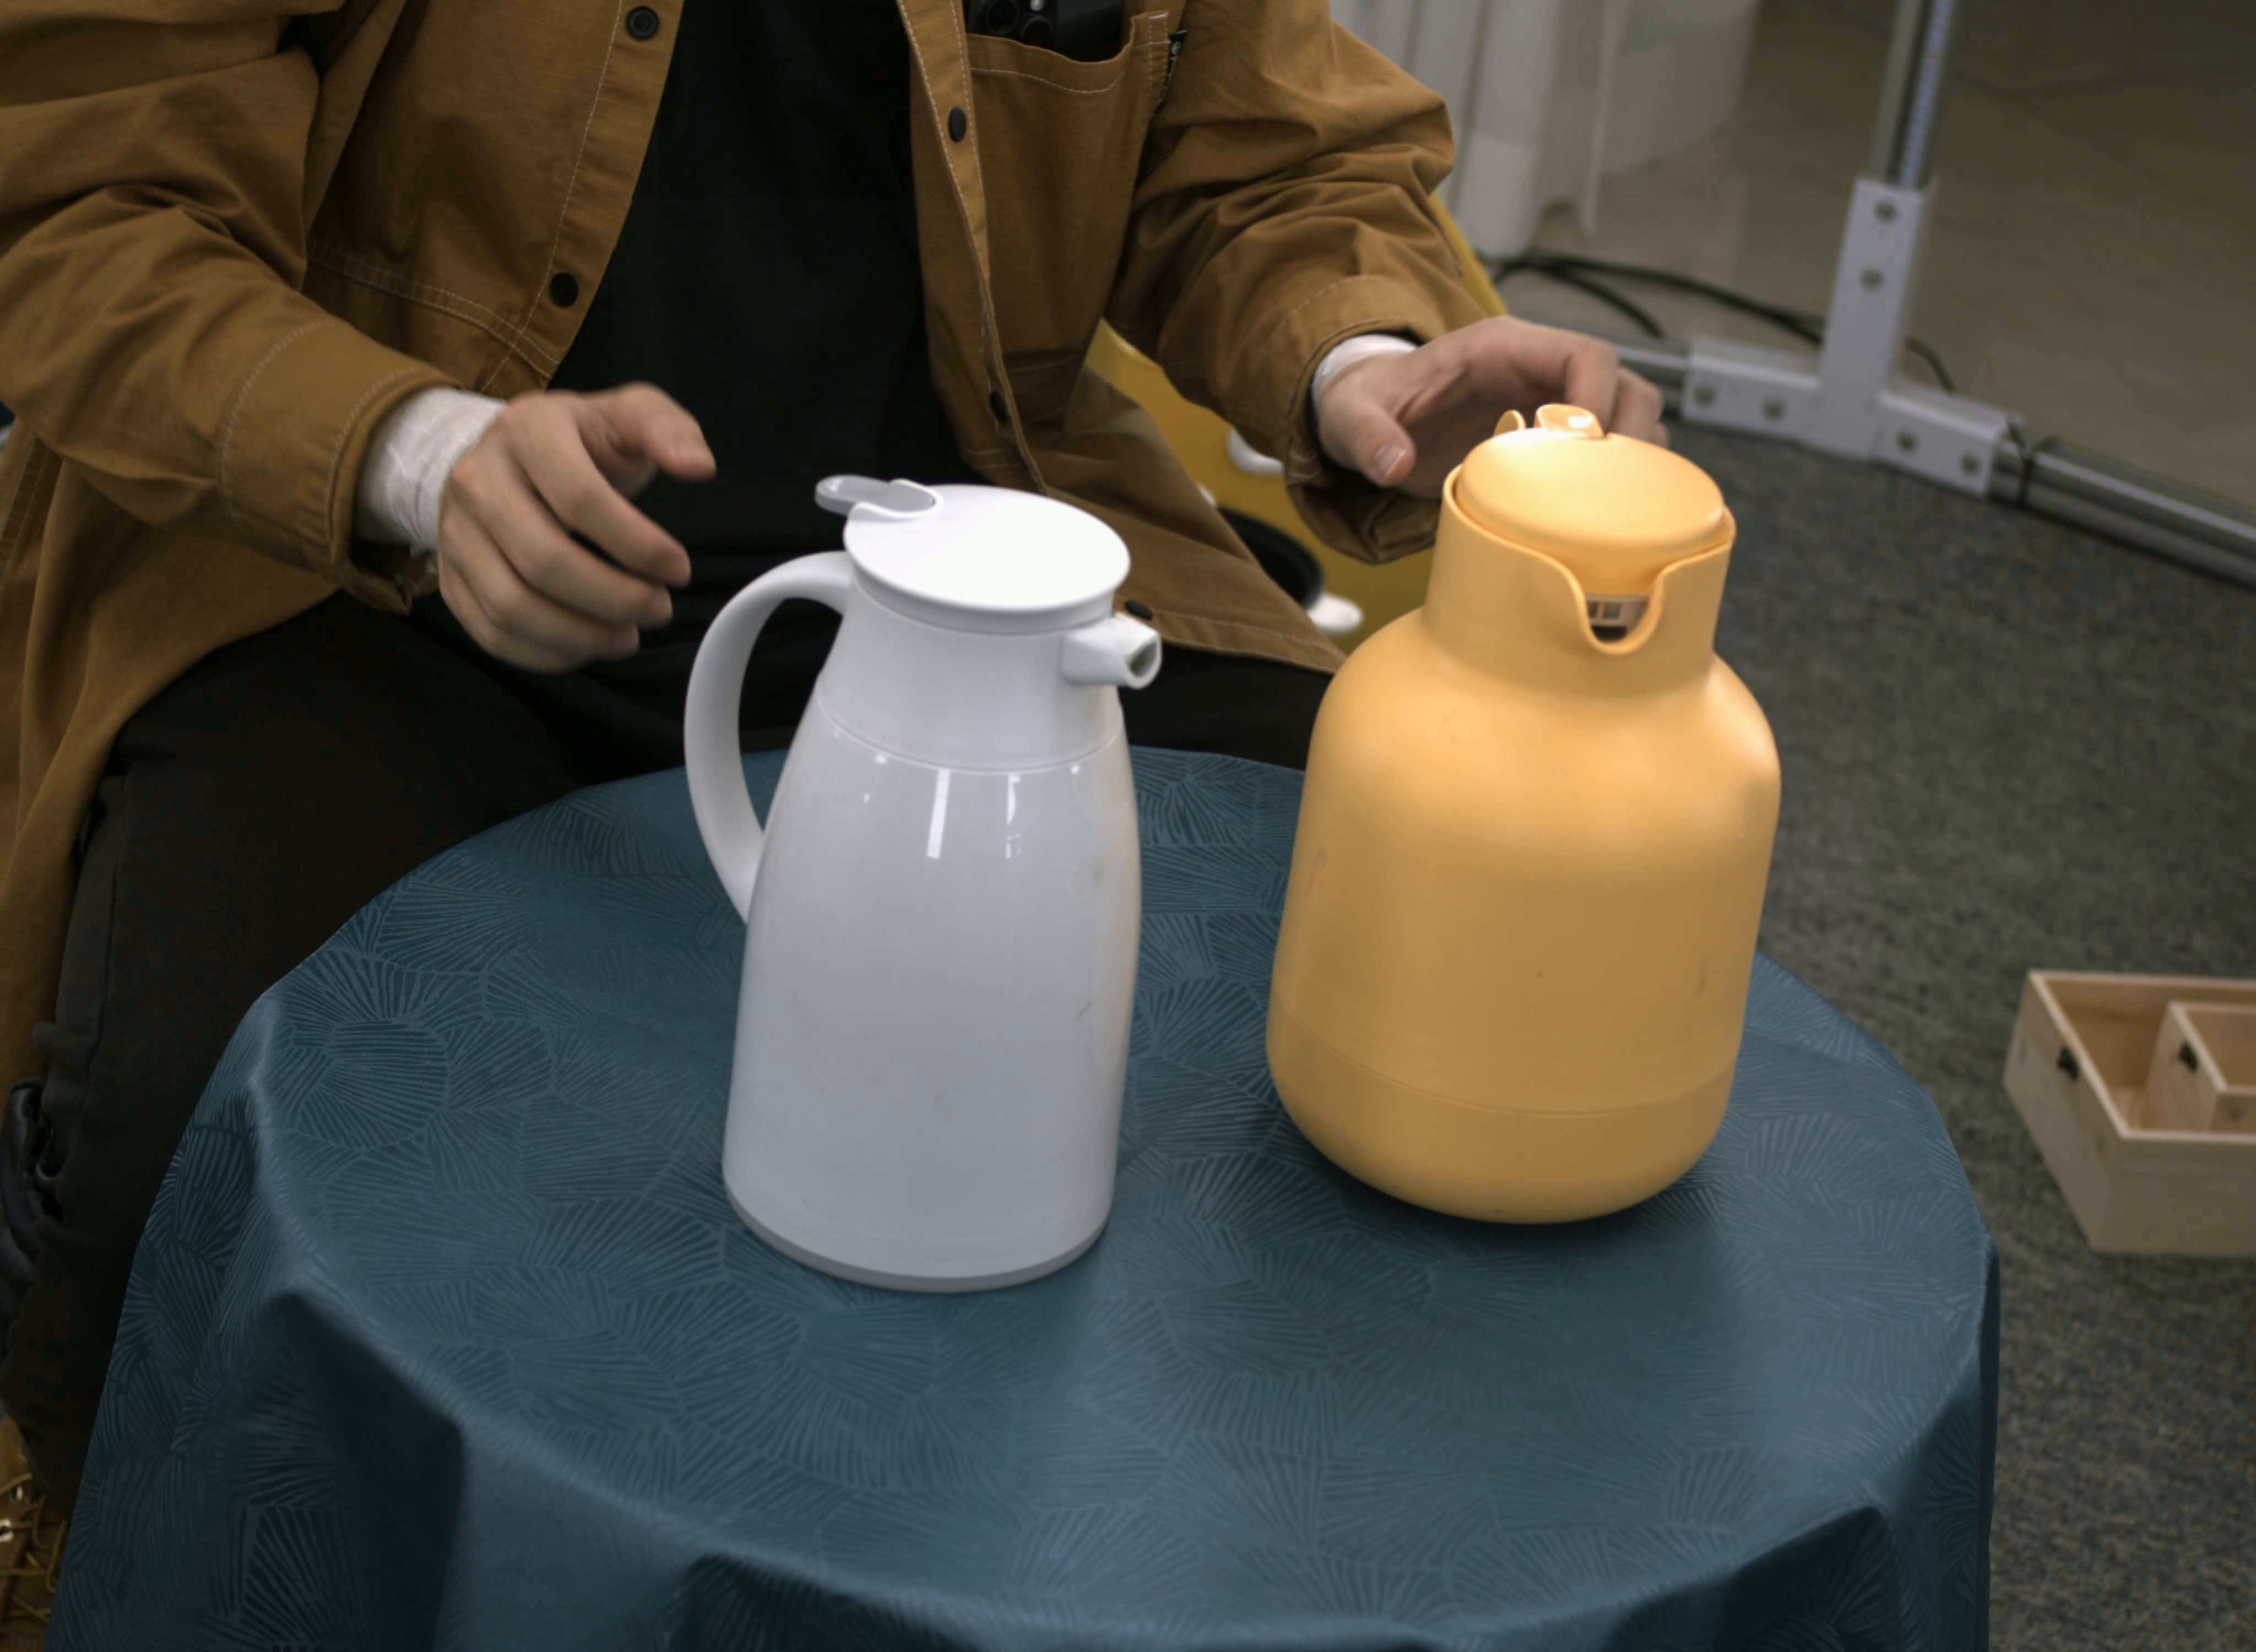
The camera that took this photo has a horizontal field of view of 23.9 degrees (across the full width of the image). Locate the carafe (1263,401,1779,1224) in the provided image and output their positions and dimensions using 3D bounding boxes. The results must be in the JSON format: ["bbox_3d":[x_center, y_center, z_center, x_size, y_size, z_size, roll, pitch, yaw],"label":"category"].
[{"bbox_3d":[0.139,-0.014,1.822,0.163,0.259,0.204,6,28,-5],"label":"carafe"}]

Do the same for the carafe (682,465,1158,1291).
[{"bbox_3d":[-0.075,0.007,1.744,0.168,0.248,0.132,20,29,25],"label":"carafe"}]
